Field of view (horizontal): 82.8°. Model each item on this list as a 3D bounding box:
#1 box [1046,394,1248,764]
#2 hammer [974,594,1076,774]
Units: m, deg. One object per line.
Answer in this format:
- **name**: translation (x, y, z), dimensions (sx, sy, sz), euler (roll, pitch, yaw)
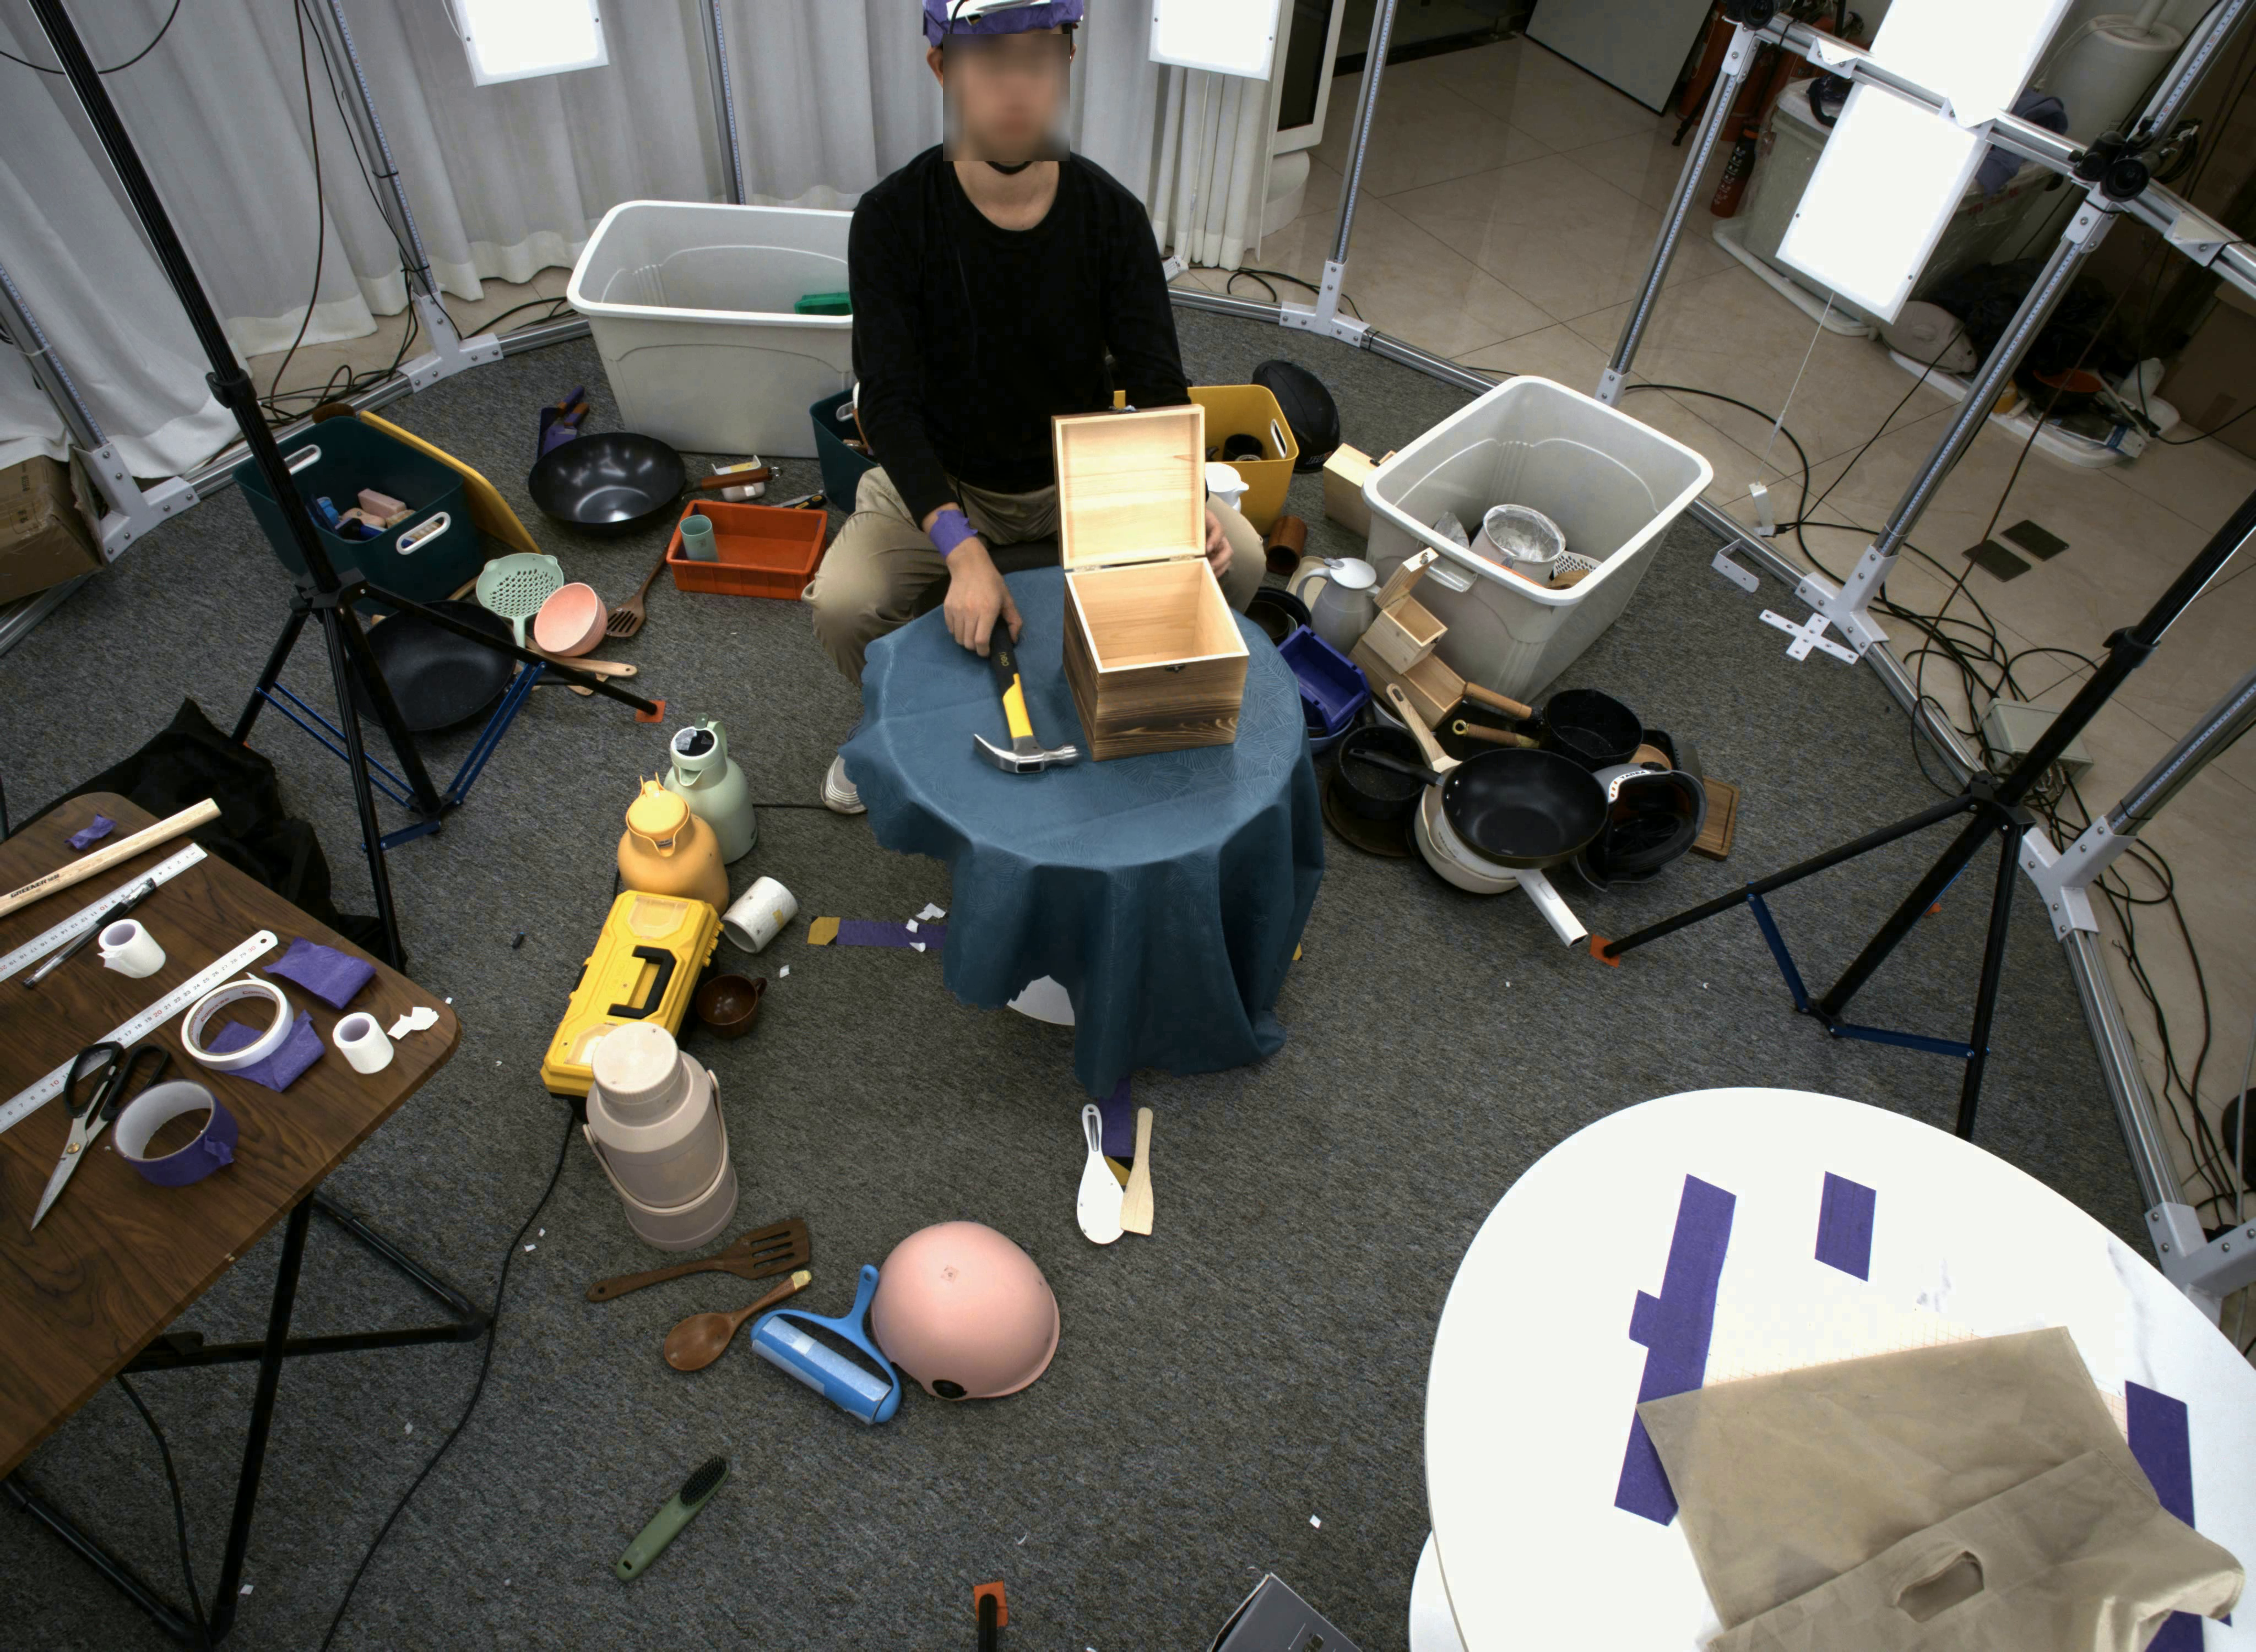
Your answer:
- **box**: translation (0.022, -0.328, 1.725), dimensions (0.208, 0.366, 0.330), euler (-9, 50, -10)
- **hammer**: translation (-0.167, -0.209, 1.816), dimensions (0.131, 0.031, 0.347), euler (-7, 51, -9)
